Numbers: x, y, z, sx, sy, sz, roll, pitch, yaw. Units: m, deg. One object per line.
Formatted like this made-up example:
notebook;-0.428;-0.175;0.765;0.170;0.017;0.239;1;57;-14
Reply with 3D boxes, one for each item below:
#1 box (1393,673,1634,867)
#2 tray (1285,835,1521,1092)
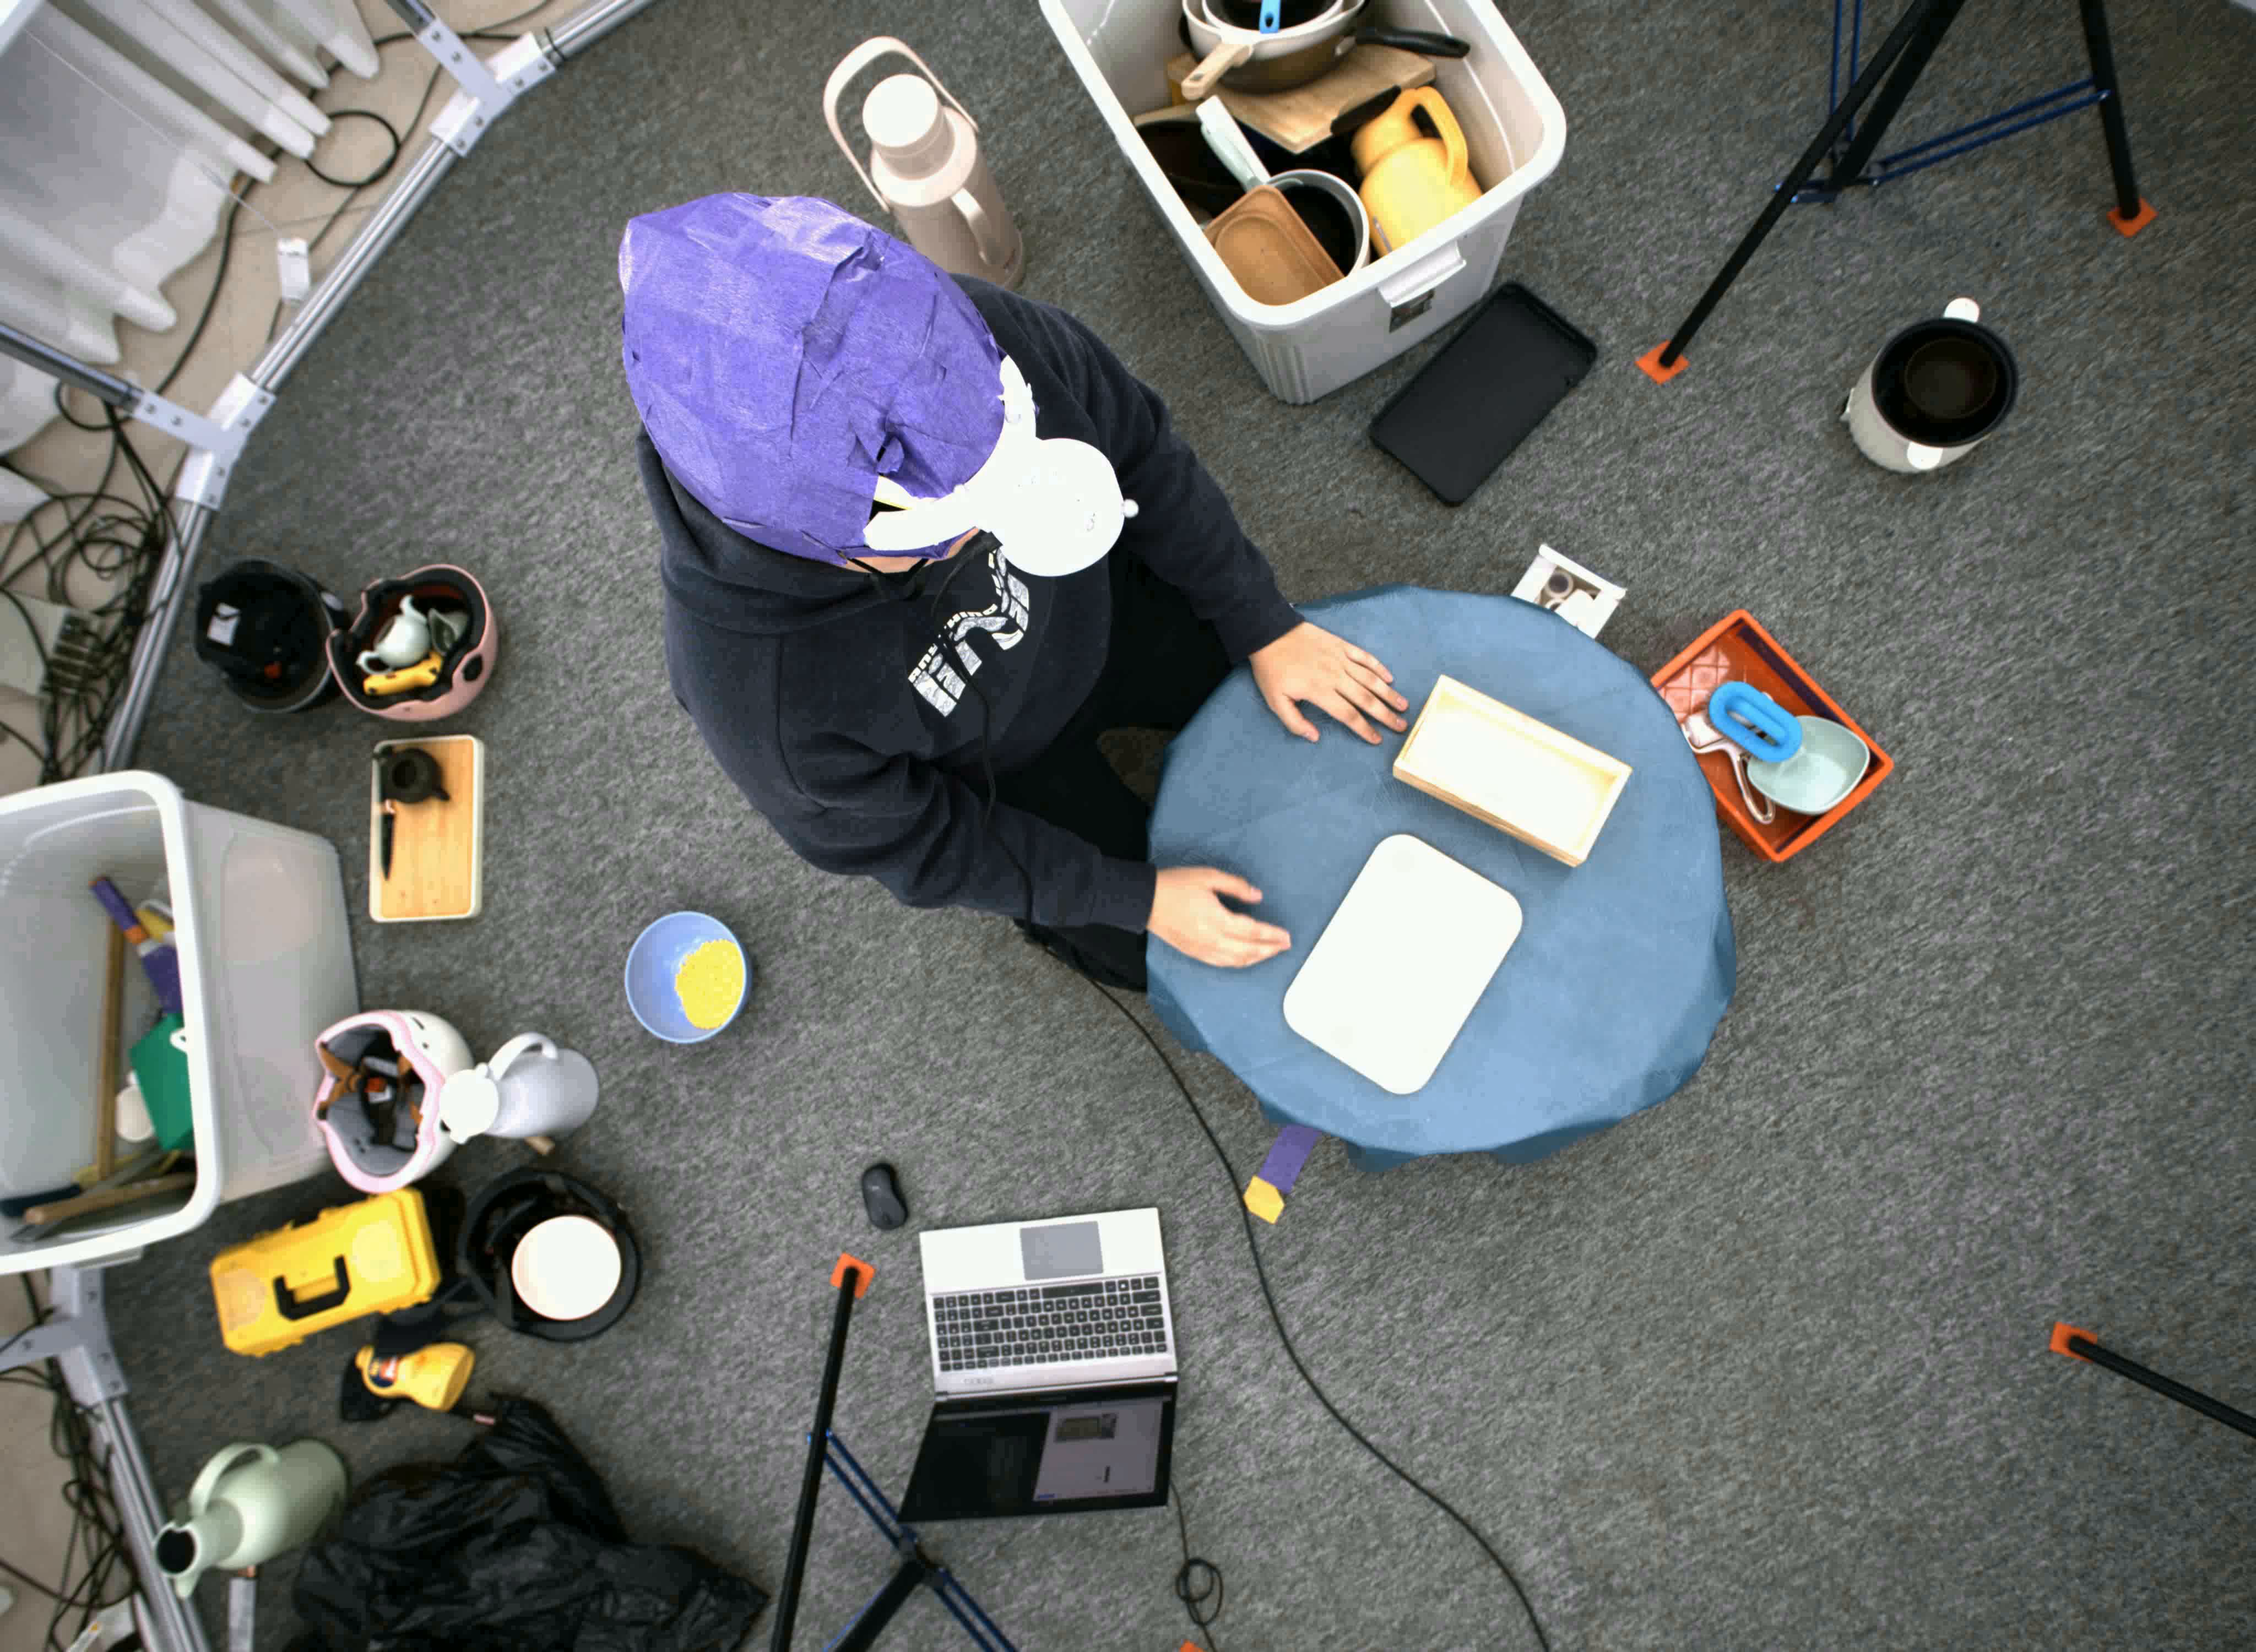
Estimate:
box;0.390;-0.059;1.405;0.211;0.080;0.107;28;90;11
tray;0.286;0.141;1.445;0.171;0.017;0.240;32;93;12
